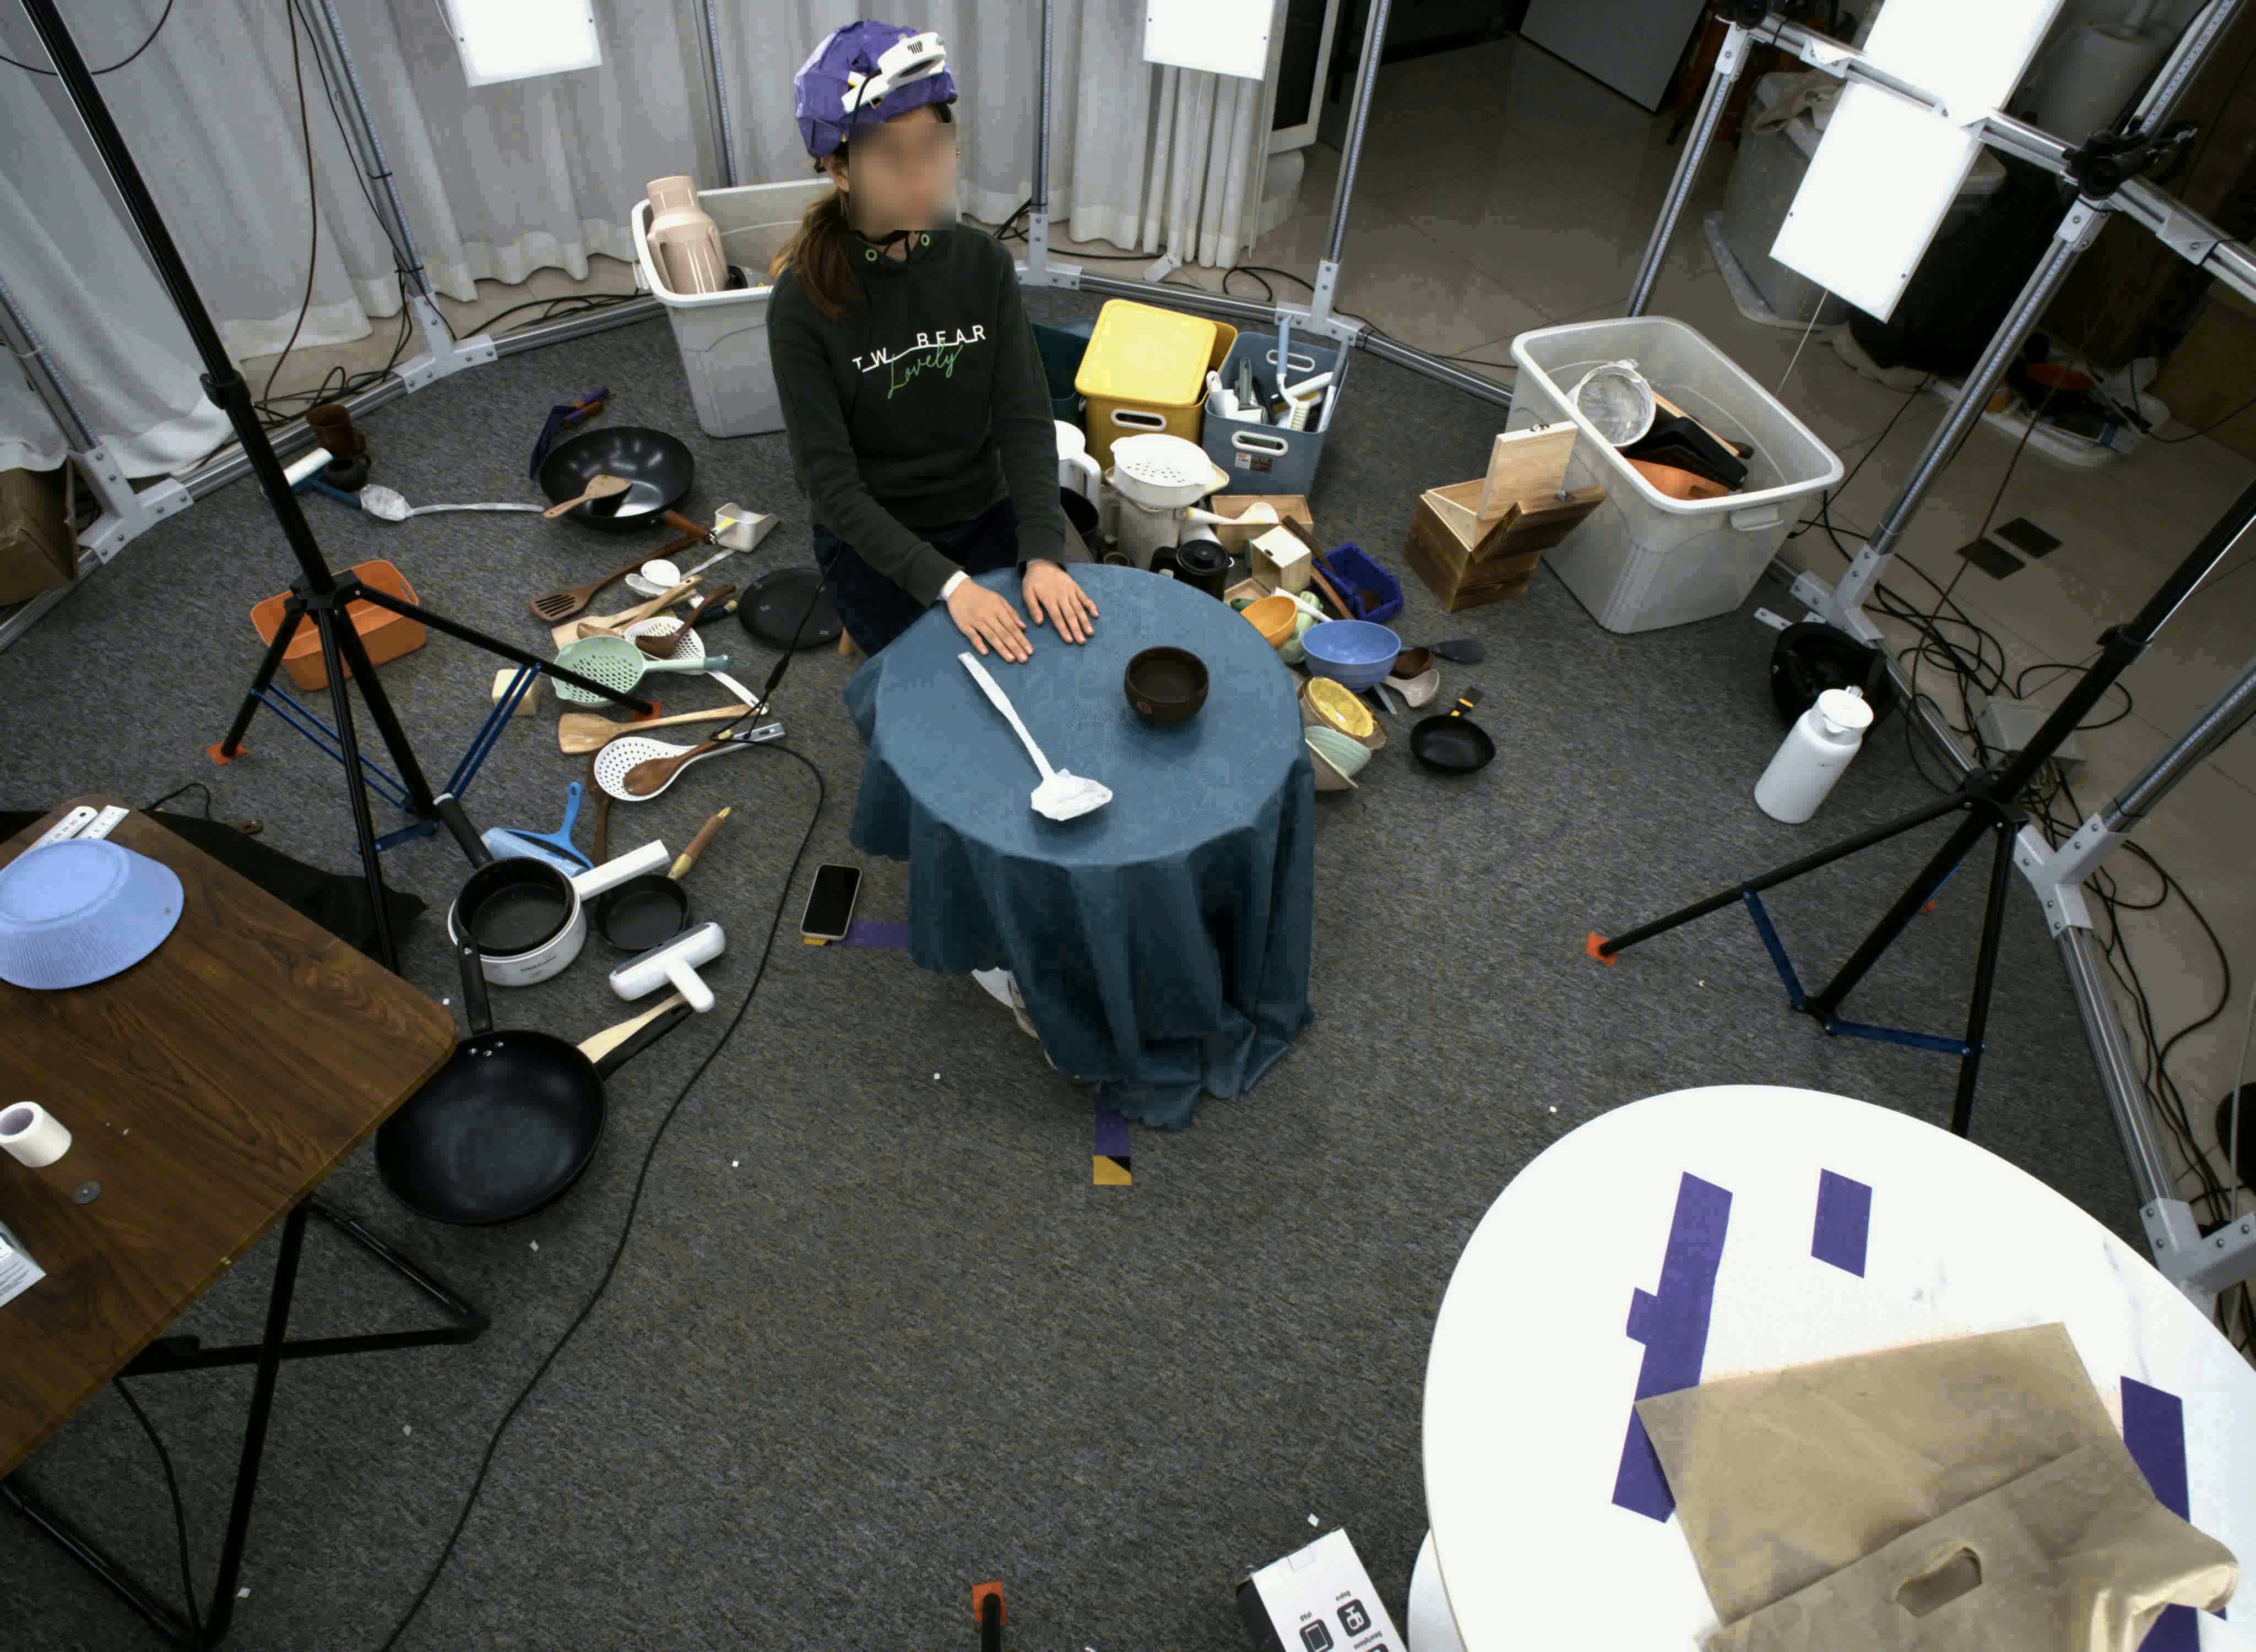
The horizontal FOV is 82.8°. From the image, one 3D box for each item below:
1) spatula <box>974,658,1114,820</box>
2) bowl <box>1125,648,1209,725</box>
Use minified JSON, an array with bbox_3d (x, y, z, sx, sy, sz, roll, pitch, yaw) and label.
[{"bbox_3d":[-0.138,-0.130,1.763,0.099,0.043,0.373,-21,54,-19],"label":"spatula"},{"bbox_3d":[0.053,-0.188,1.806,0.118,0.068,0.121,3,47,-3],"label":"bowl"}]
